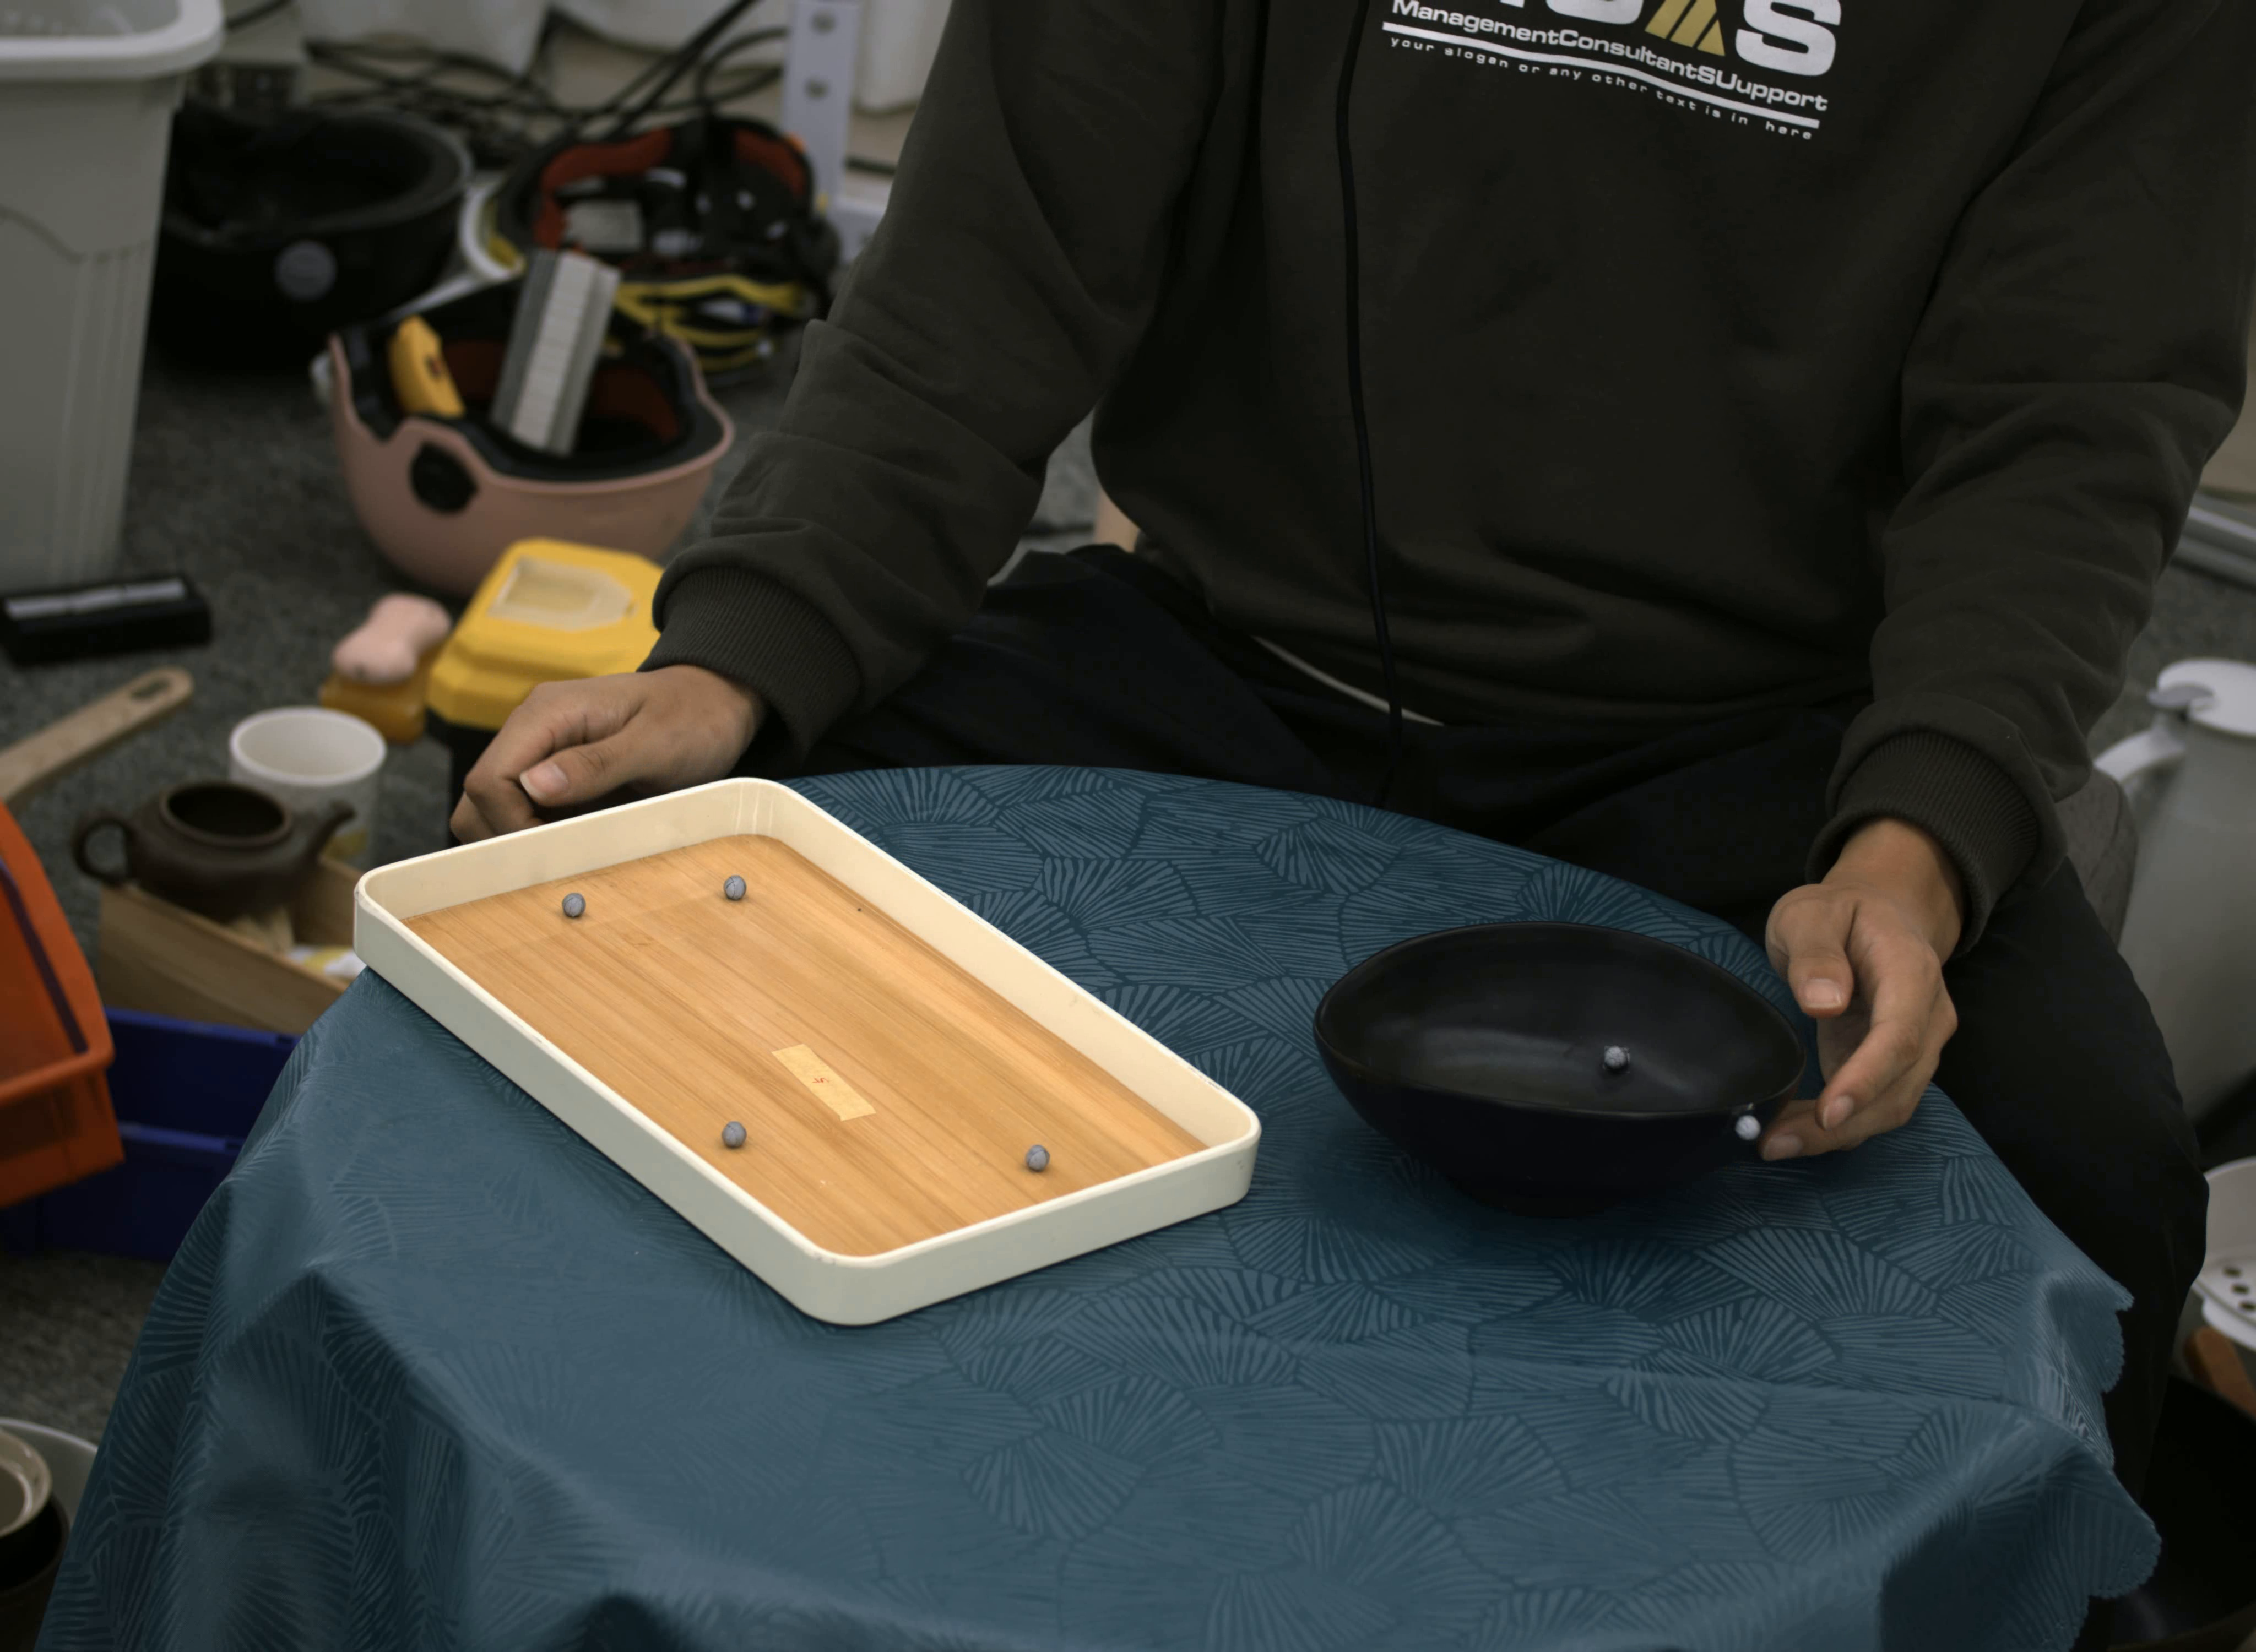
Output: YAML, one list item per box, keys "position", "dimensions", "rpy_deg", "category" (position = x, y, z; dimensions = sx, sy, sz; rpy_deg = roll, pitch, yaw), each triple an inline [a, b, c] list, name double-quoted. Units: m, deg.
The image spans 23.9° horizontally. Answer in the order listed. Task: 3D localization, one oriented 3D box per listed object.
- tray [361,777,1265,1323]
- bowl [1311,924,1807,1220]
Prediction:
- position: [-0.114, 0.072, 1.851]
  dimensions: [0.190, 0.027, 0.303]
  rpy_deg: [-15, 34, -37]
  category: "tray"
- position: [0.146, 0.093, 1.835]
  dimensions: [0.170, 0.066, 0.138]
  rpy_deg: [4, 25, -3]
  category: "bowl"
